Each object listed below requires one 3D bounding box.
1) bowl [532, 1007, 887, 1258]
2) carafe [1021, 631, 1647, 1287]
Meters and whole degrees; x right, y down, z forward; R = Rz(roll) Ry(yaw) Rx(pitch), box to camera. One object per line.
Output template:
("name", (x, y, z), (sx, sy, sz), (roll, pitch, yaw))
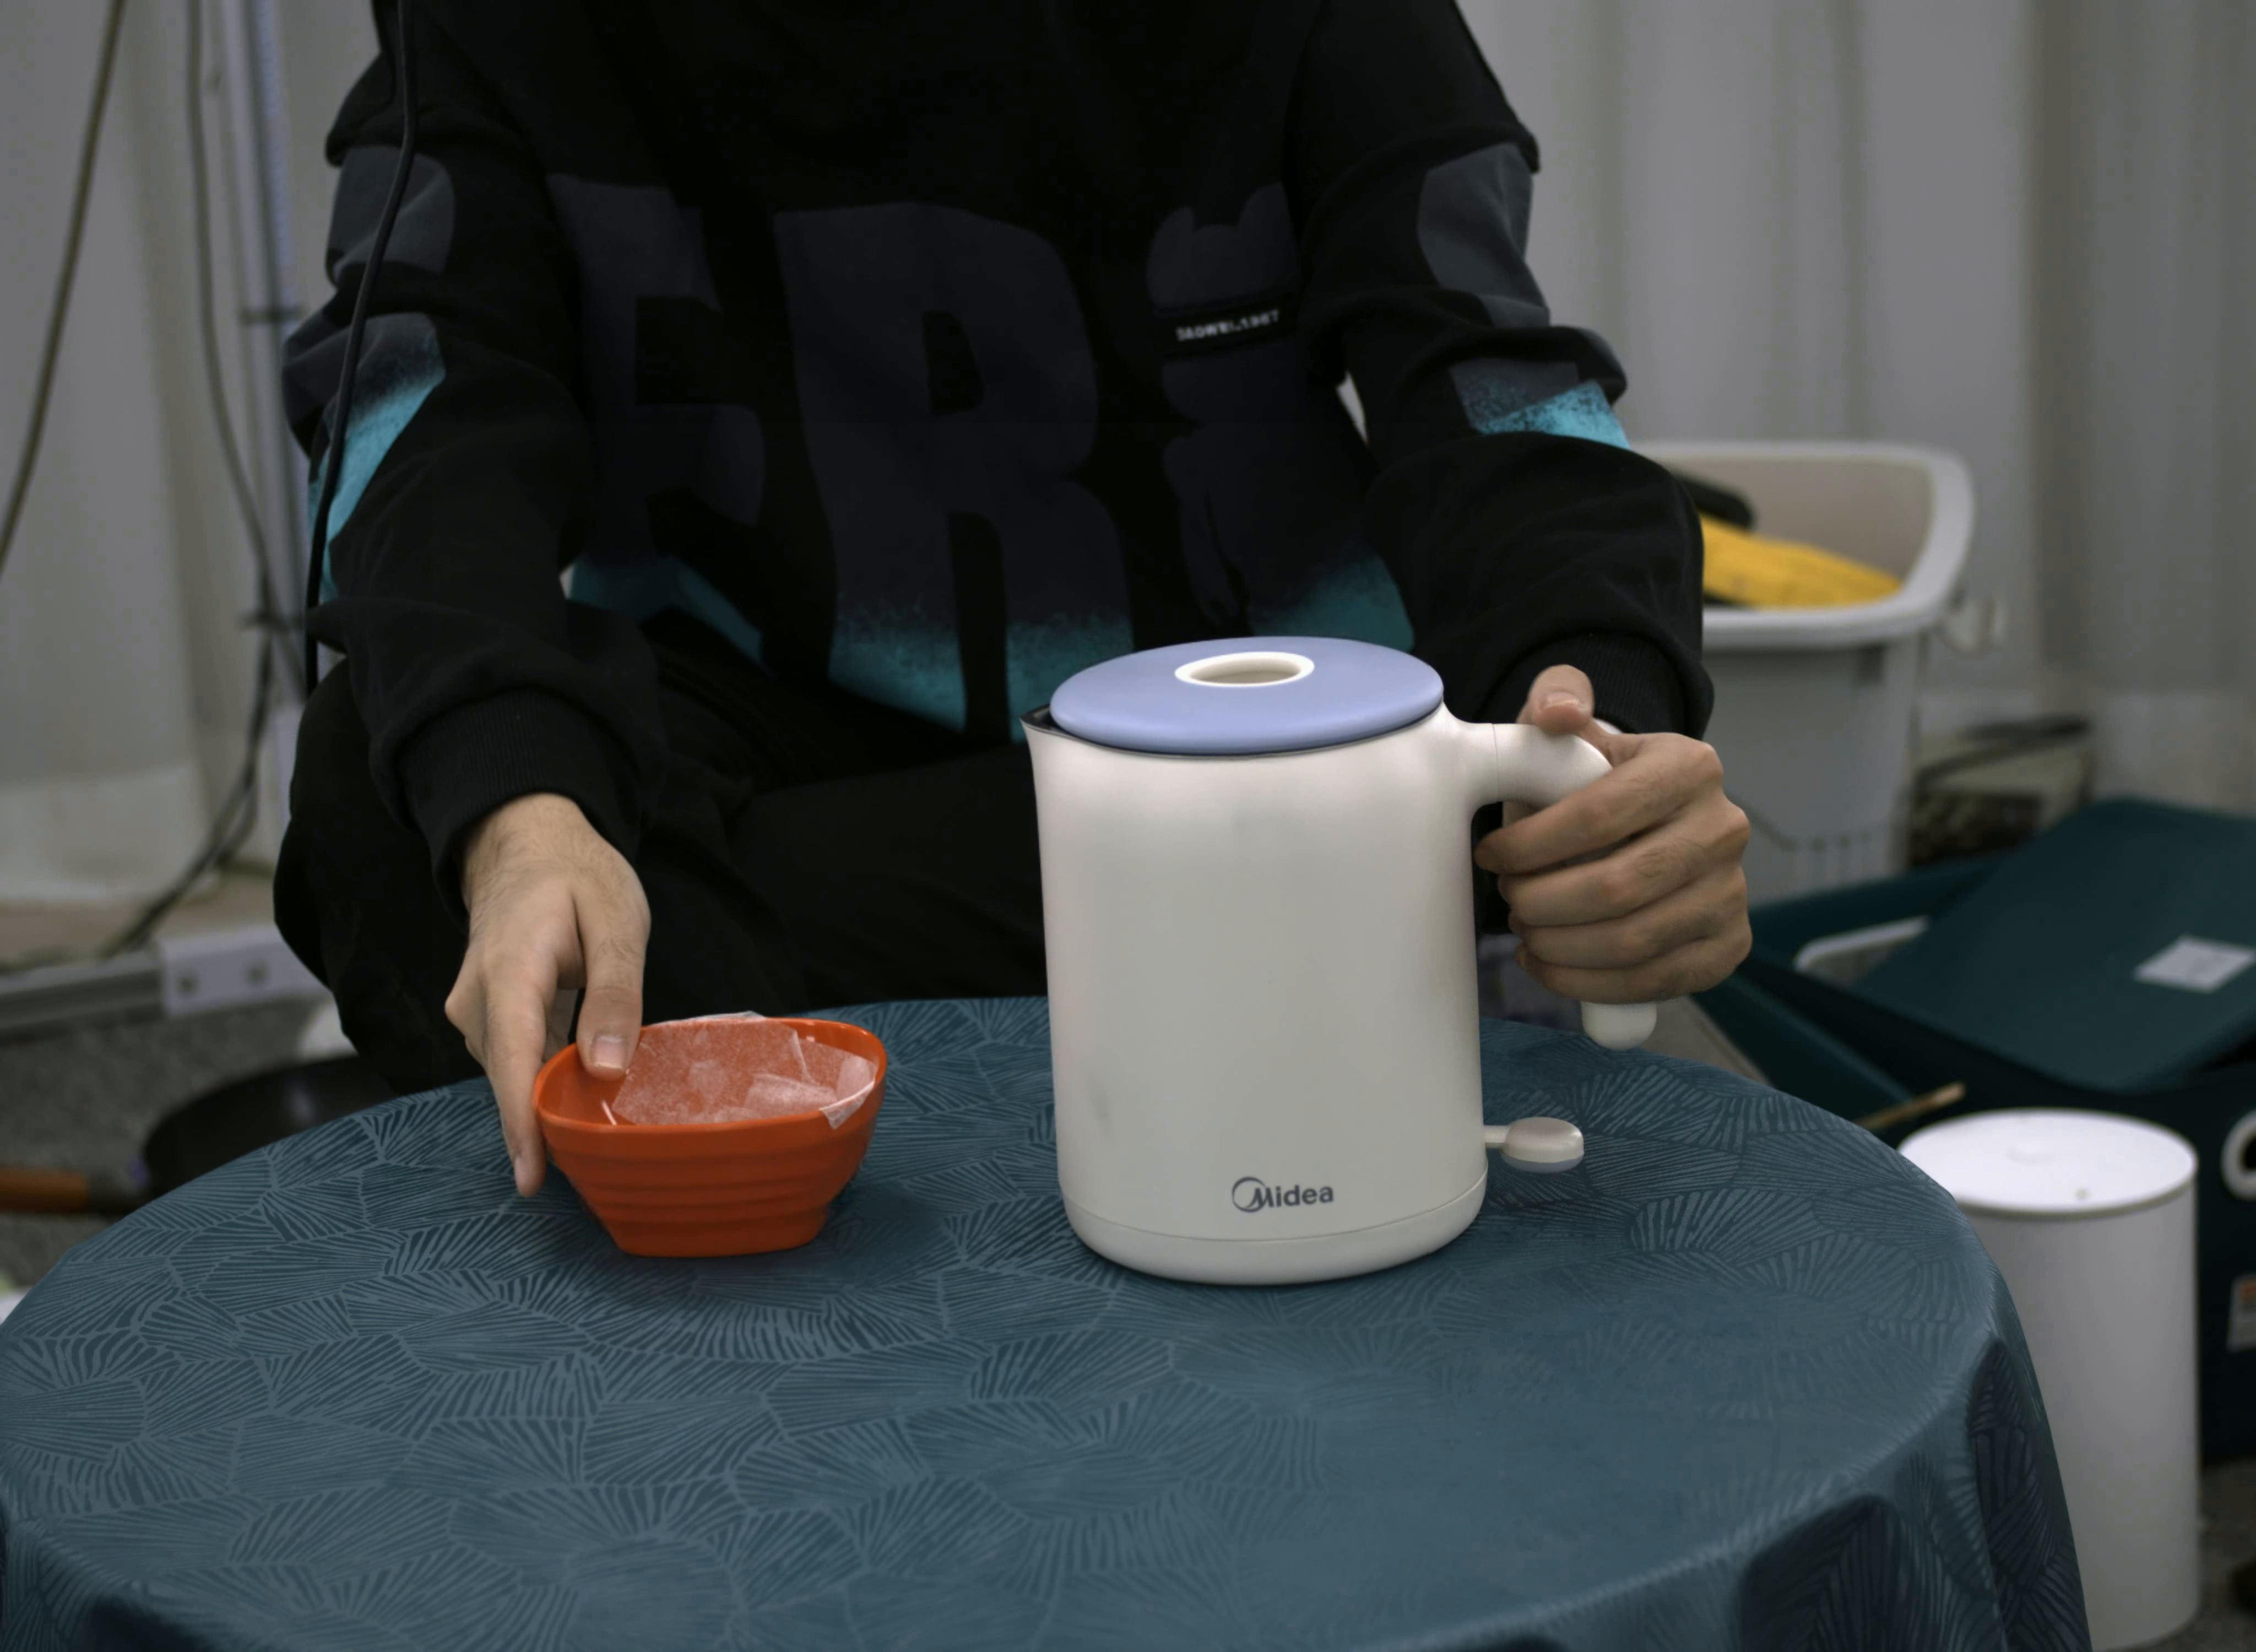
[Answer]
("bowl", (-0.127, 0.098, 1.699), (0.118, 0.051, 0.120), (-5, 17, 1))
("carafe", (0.064, 0.038, 1.660), (0.190, 0.182, 0.133), (-1, 15, -3))
